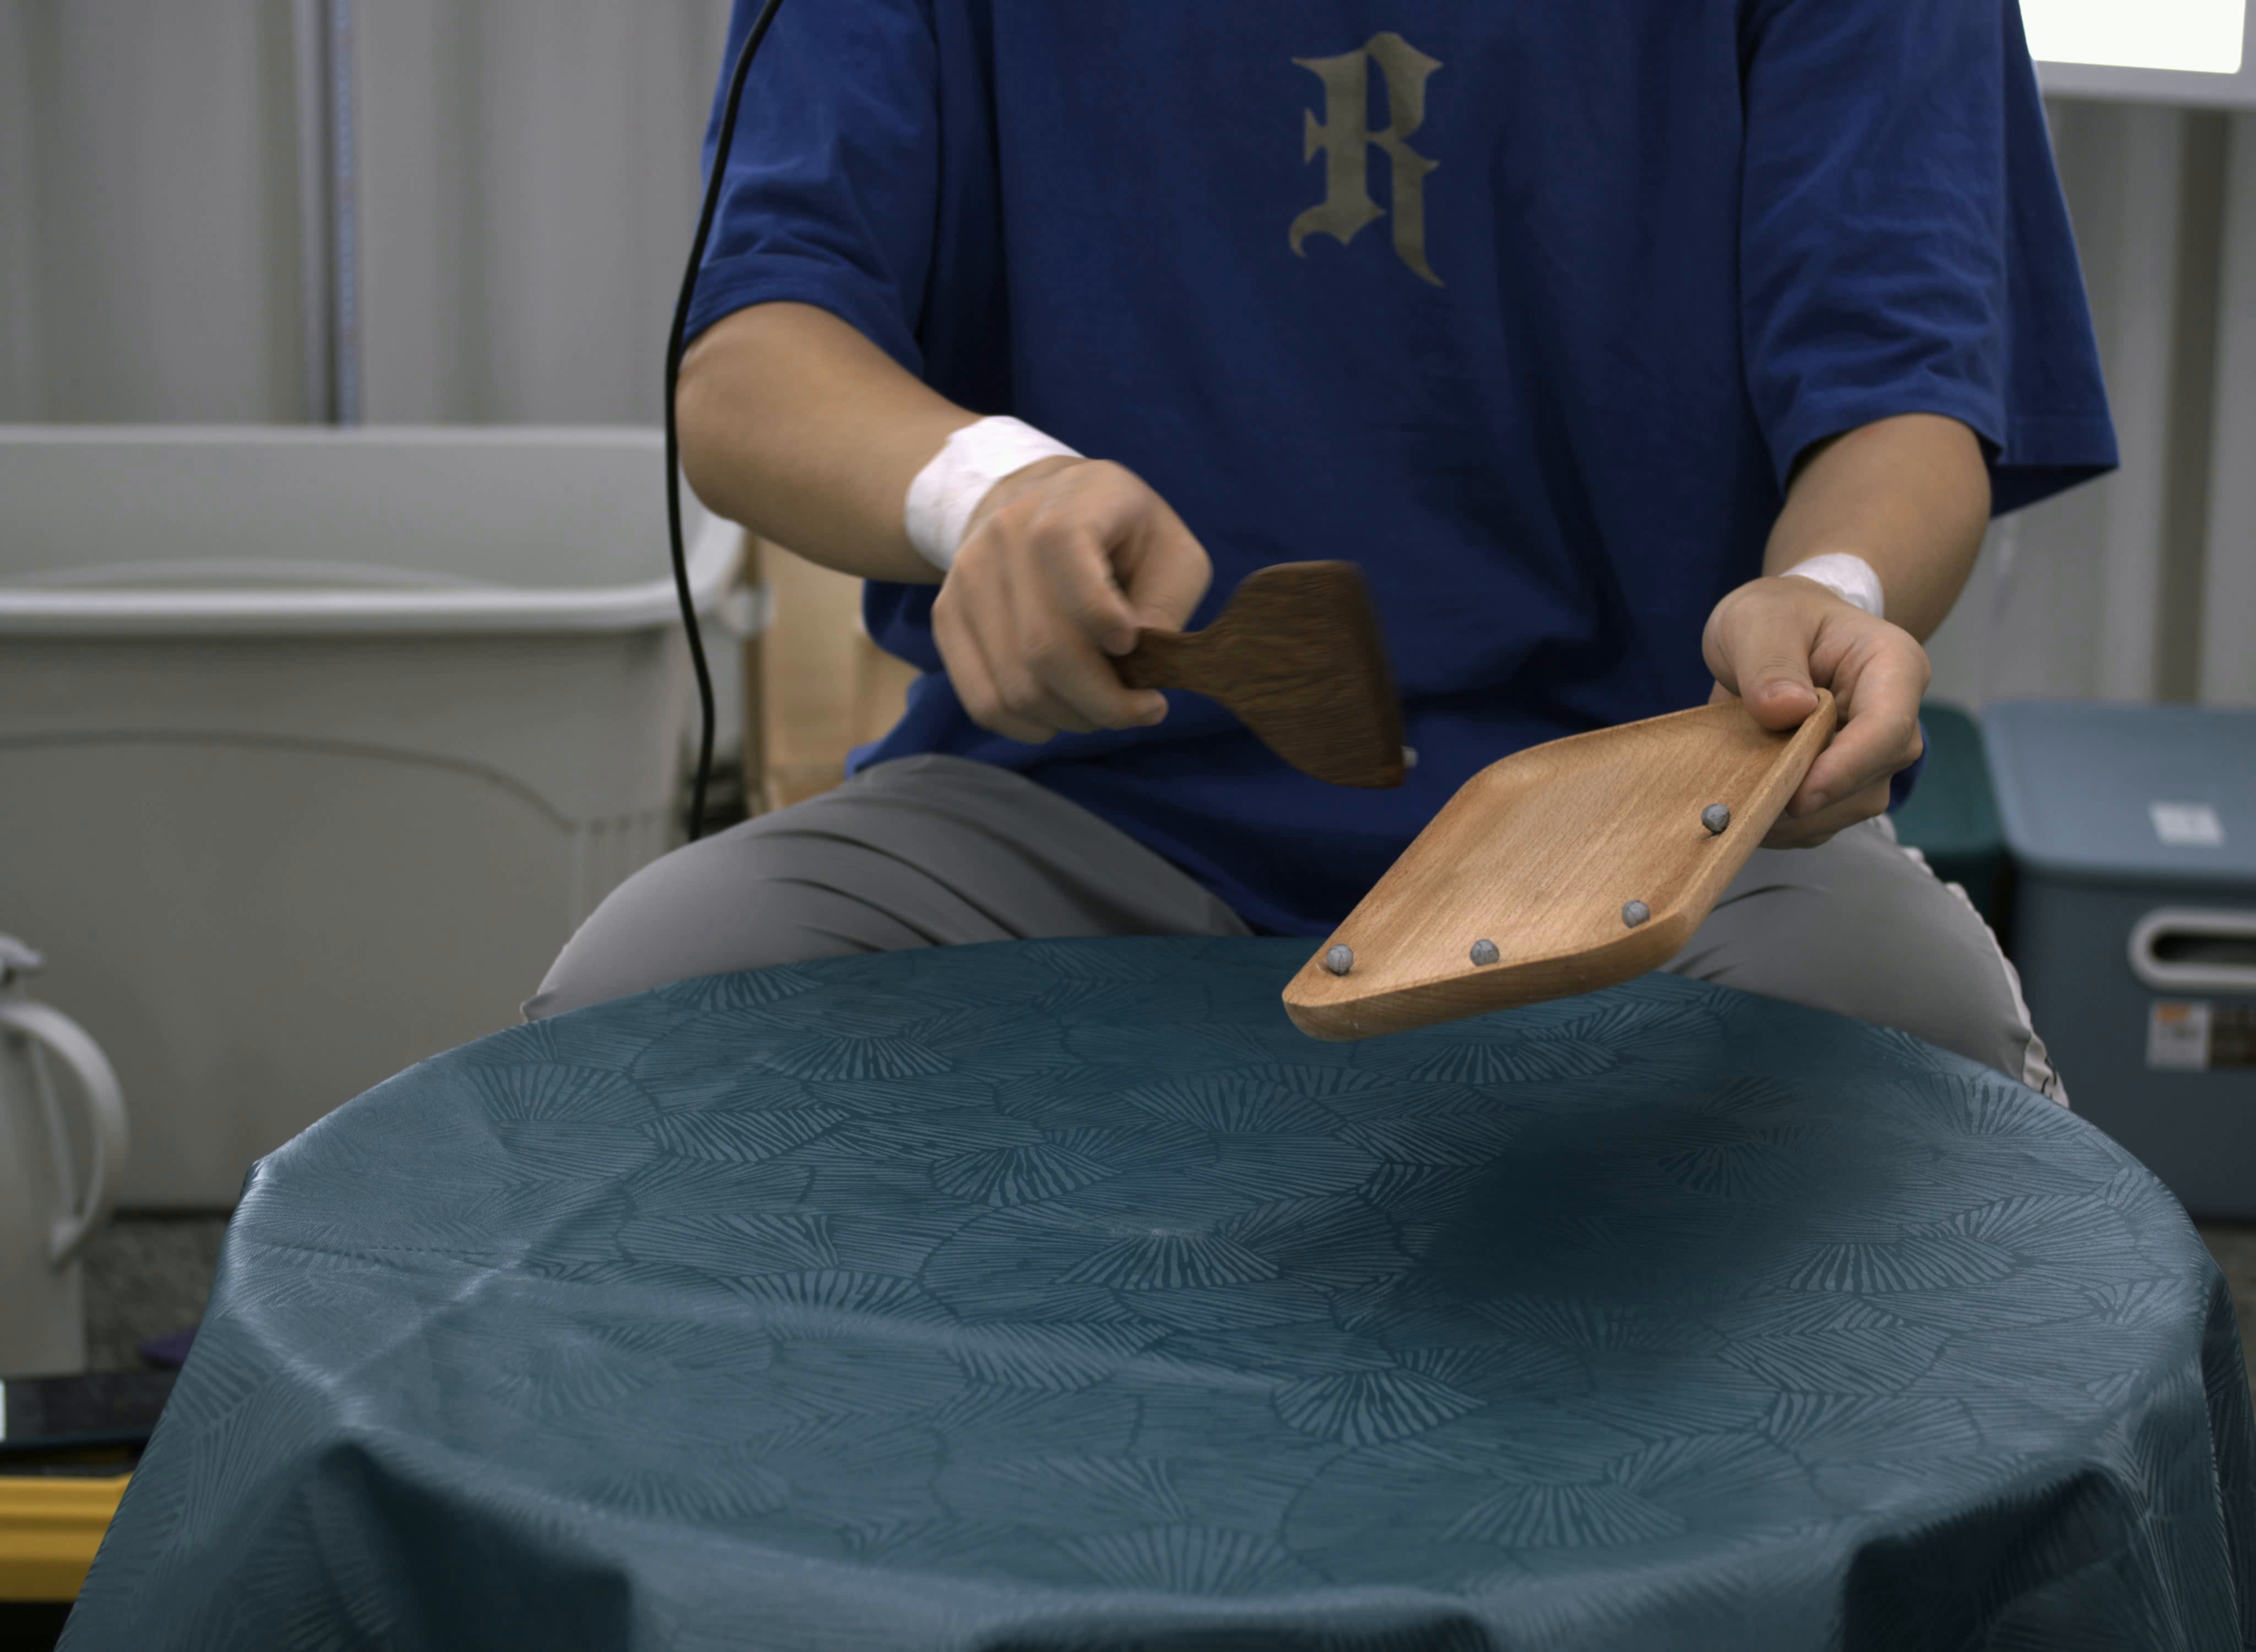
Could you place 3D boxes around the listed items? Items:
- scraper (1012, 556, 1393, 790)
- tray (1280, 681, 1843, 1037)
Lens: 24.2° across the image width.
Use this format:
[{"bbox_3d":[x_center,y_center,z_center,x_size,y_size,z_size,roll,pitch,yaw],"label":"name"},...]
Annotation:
[{"bbox_3d":[0.017,-0.052,1.667,0.011,0.076,0.209,-27,18,-25],"label":"scraper"},{"bbox_3d":[0.137,0.008,1.605,0.129,0.023,0.250,-10,14,24],"label":"tray"}]
